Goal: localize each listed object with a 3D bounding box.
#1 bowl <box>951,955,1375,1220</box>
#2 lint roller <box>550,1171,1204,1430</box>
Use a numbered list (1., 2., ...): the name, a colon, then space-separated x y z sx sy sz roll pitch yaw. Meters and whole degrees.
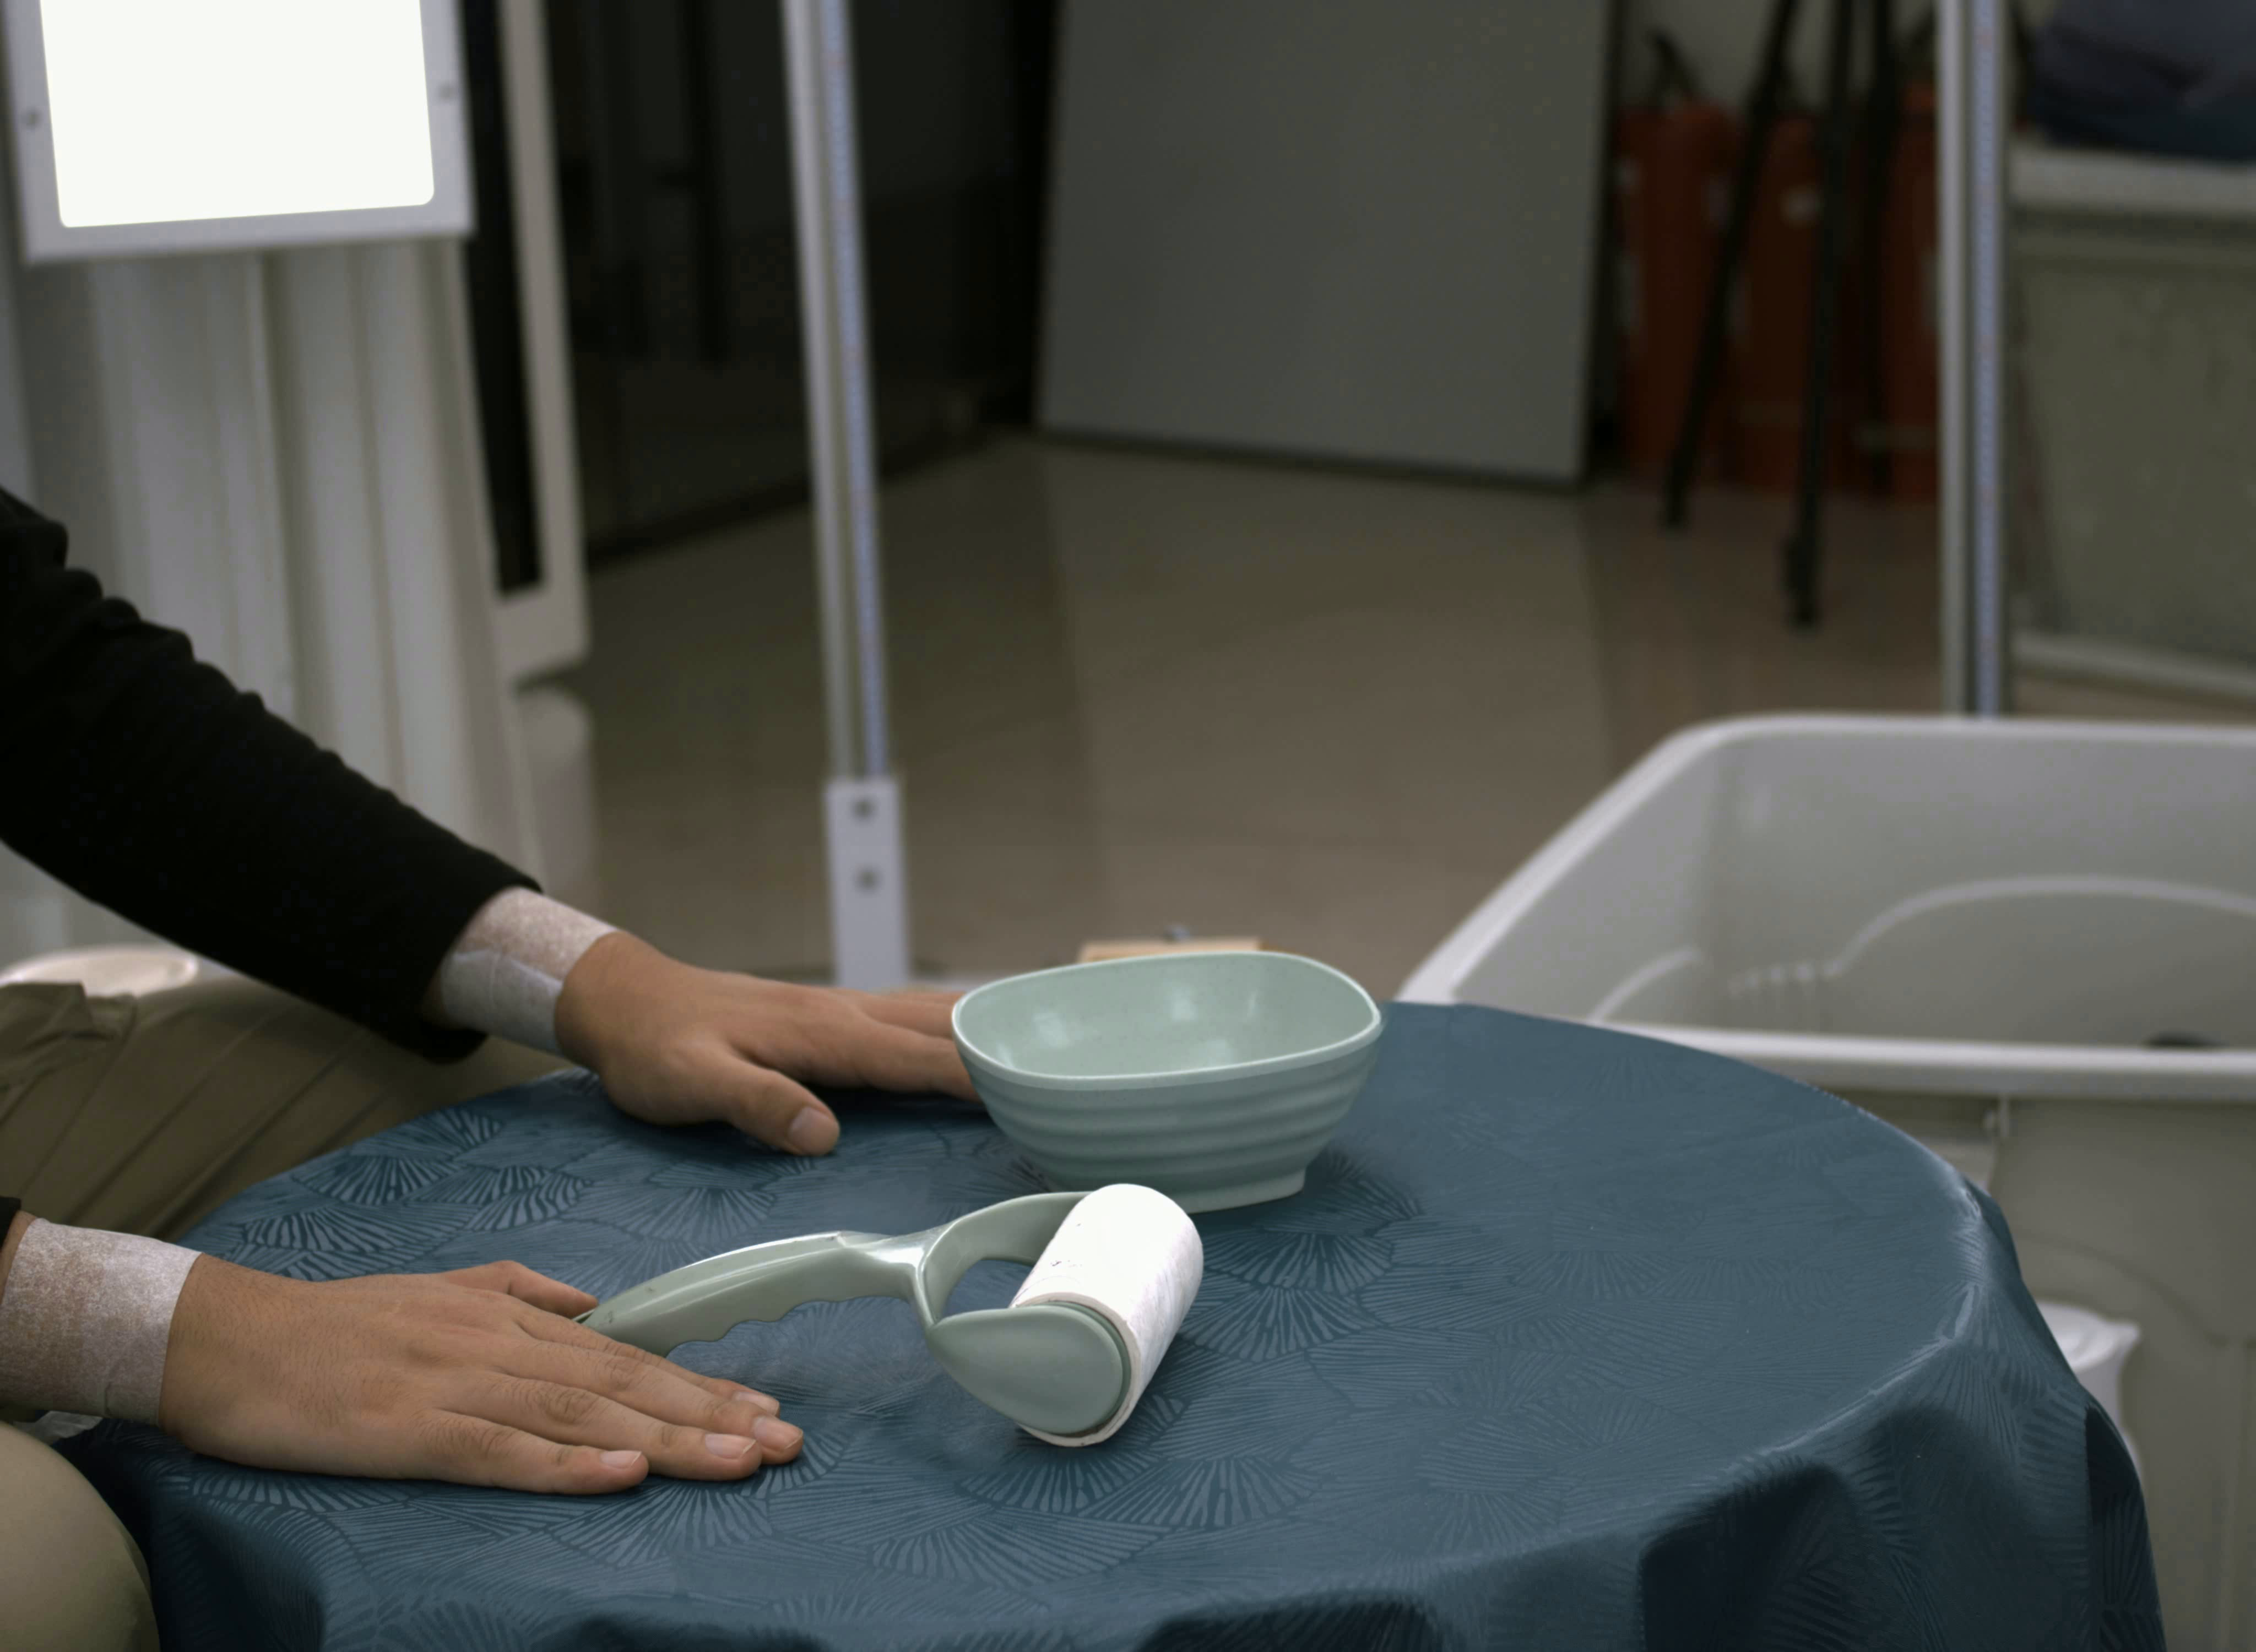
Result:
1. bowl: 0.012 0.090 1.776 0.149 0.059 0.152 -3 14 0
2. lint roller: -0.078 0.143 1.608 0.196 0.049 0.116 -3 15 14
